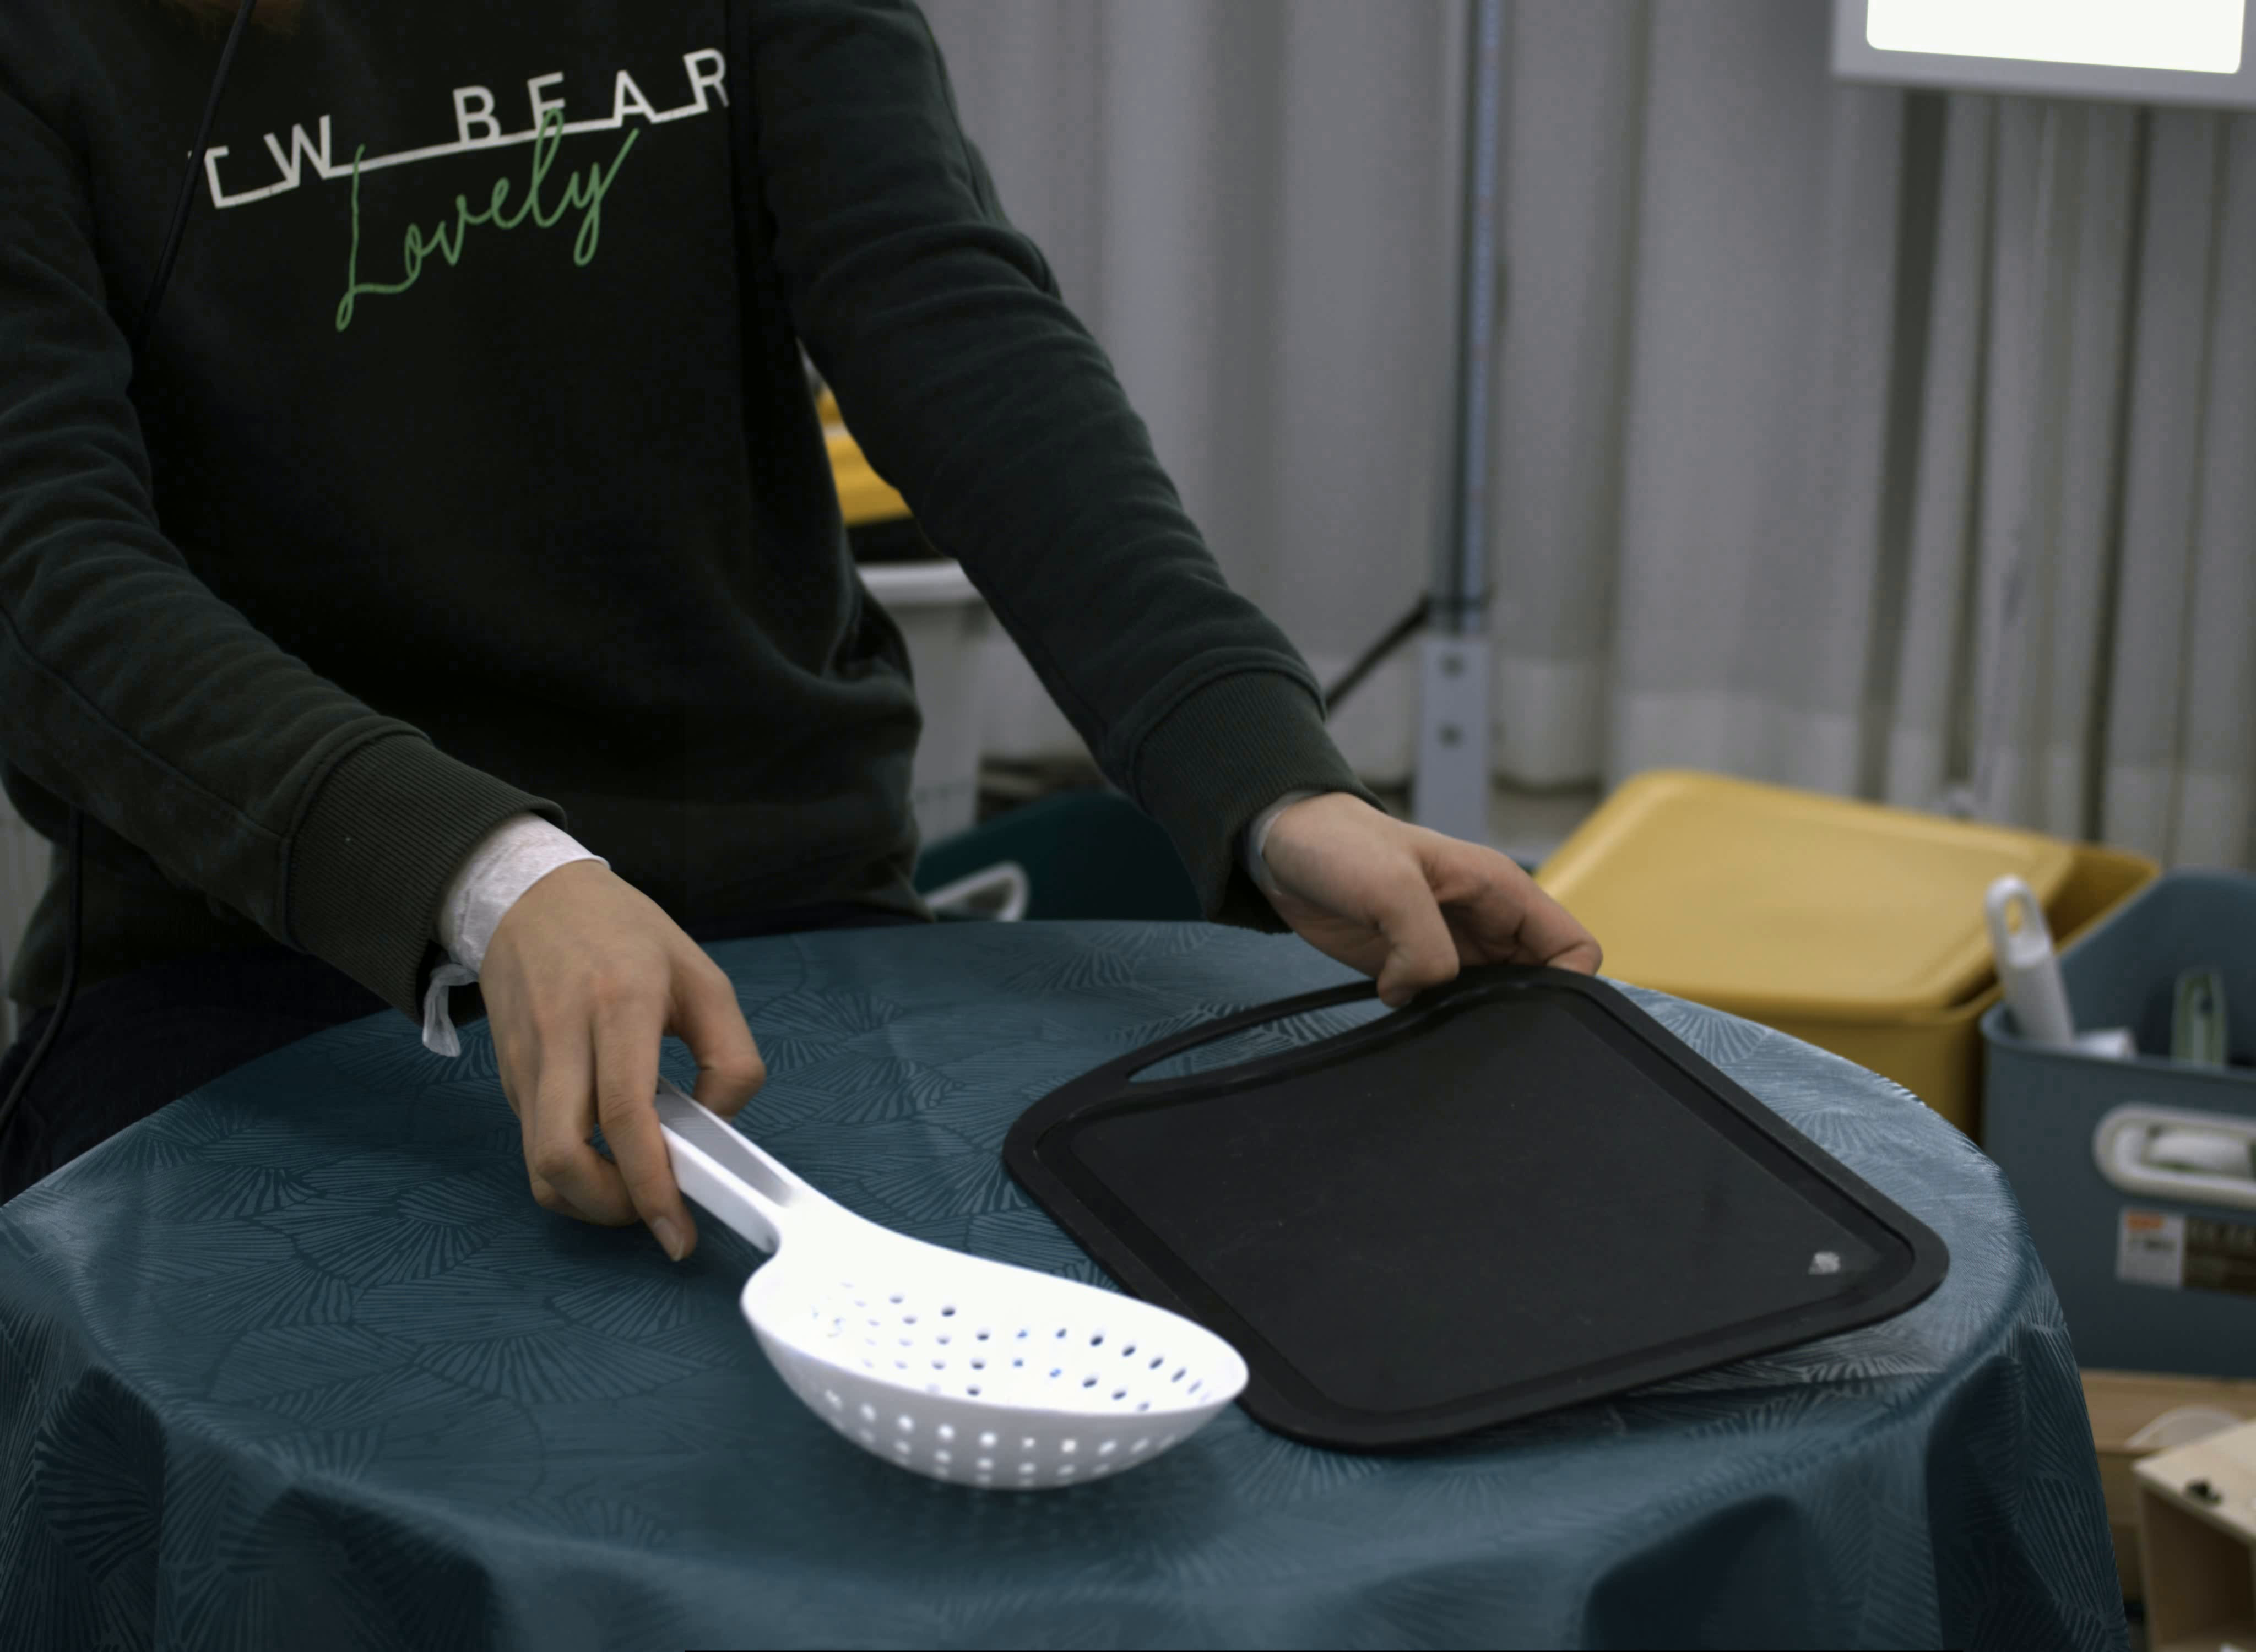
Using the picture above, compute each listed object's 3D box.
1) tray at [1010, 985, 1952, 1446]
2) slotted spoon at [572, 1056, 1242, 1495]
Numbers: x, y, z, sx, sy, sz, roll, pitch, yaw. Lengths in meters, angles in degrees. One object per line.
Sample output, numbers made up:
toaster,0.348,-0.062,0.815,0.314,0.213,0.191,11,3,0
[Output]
tray,0.094,0.107,1.579,0.211,0.010,0.322,-13,20,-16
slotted spoon,-0.086,0.118,1.488,0.137,0.046,0.345,4,16,-28
